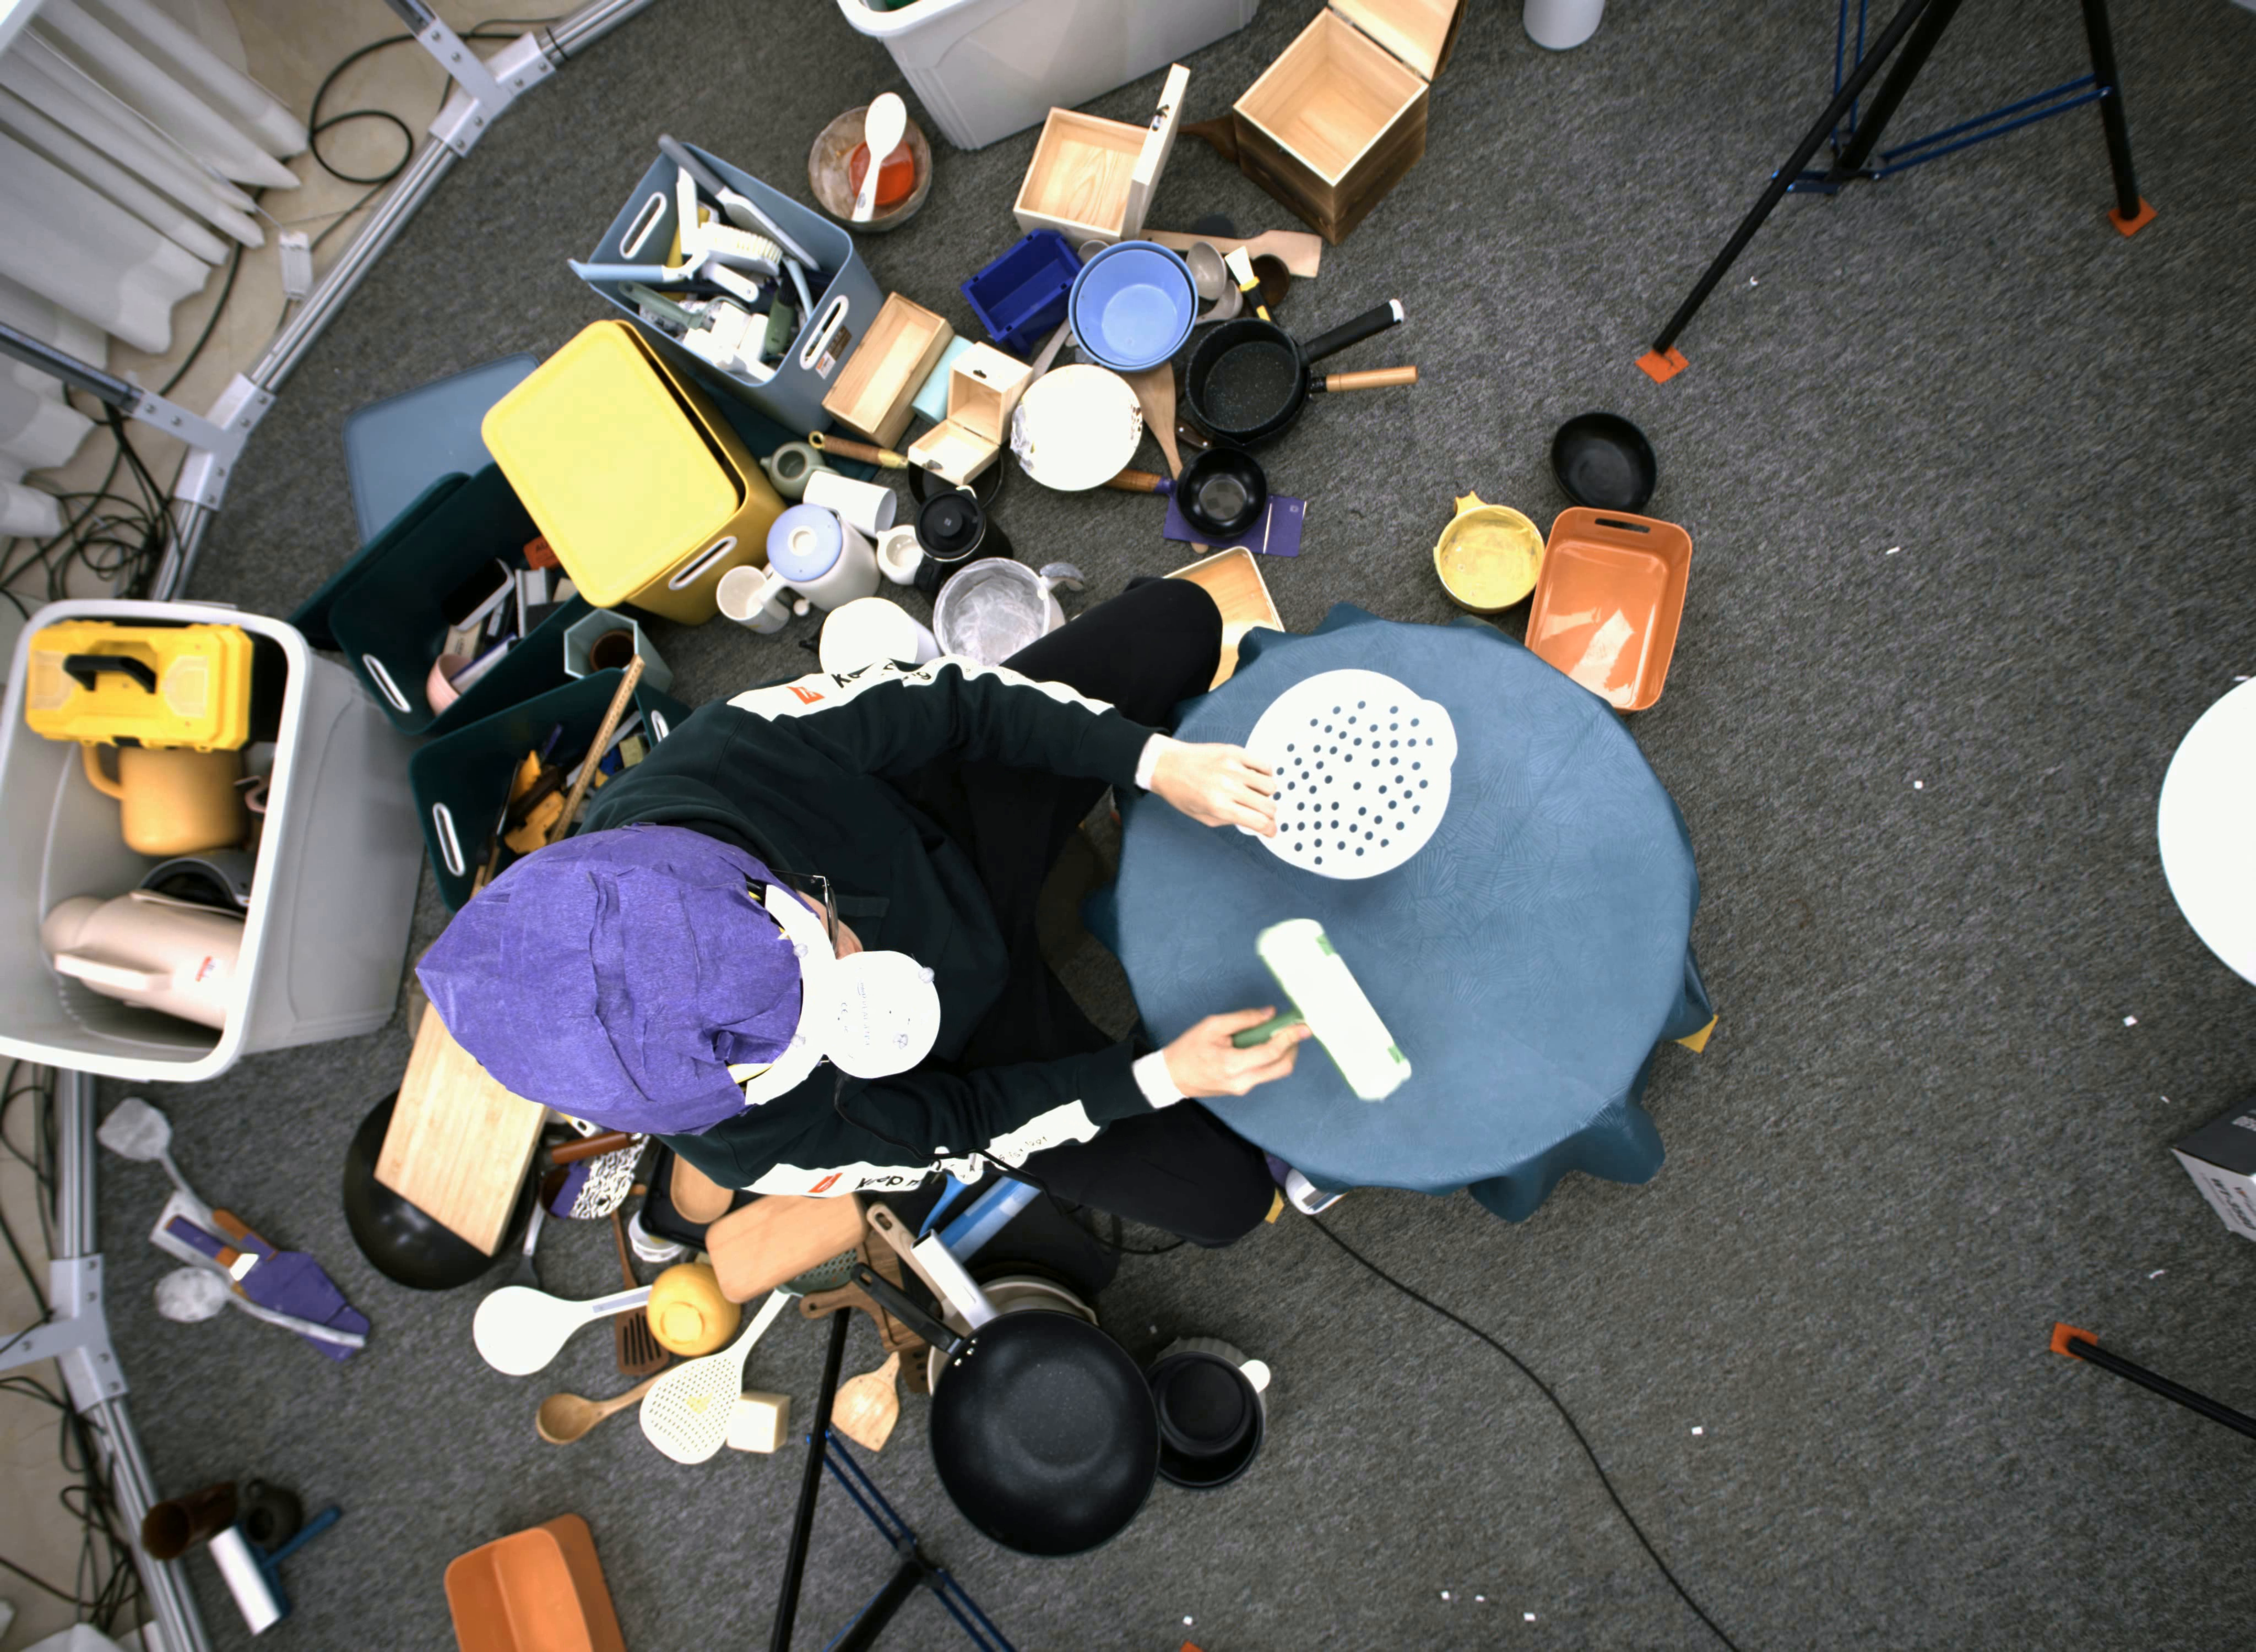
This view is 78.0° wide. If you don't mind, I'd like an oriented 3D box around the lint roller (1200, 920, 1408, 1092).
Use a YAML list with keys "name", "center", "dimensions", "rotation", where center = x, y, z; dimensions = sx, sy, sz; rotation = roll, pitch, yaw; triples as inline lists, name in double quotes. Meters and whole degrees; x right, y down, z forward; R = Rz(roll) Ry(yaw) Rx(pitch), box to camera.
- name: "lint roller"
  center: [0.147, 0.205, 1.347]
  dimensions: [0.185, 0.080, 0.200]
  rotation: [-32, 110, 17]

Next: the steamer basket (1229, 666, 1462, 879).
- name: "steamer basket"
  center: [0.214, -0.051, 1.324]
  dimensions: [0.233, 0.069, 0.198]
  rotation: [-20, 69, 22]
